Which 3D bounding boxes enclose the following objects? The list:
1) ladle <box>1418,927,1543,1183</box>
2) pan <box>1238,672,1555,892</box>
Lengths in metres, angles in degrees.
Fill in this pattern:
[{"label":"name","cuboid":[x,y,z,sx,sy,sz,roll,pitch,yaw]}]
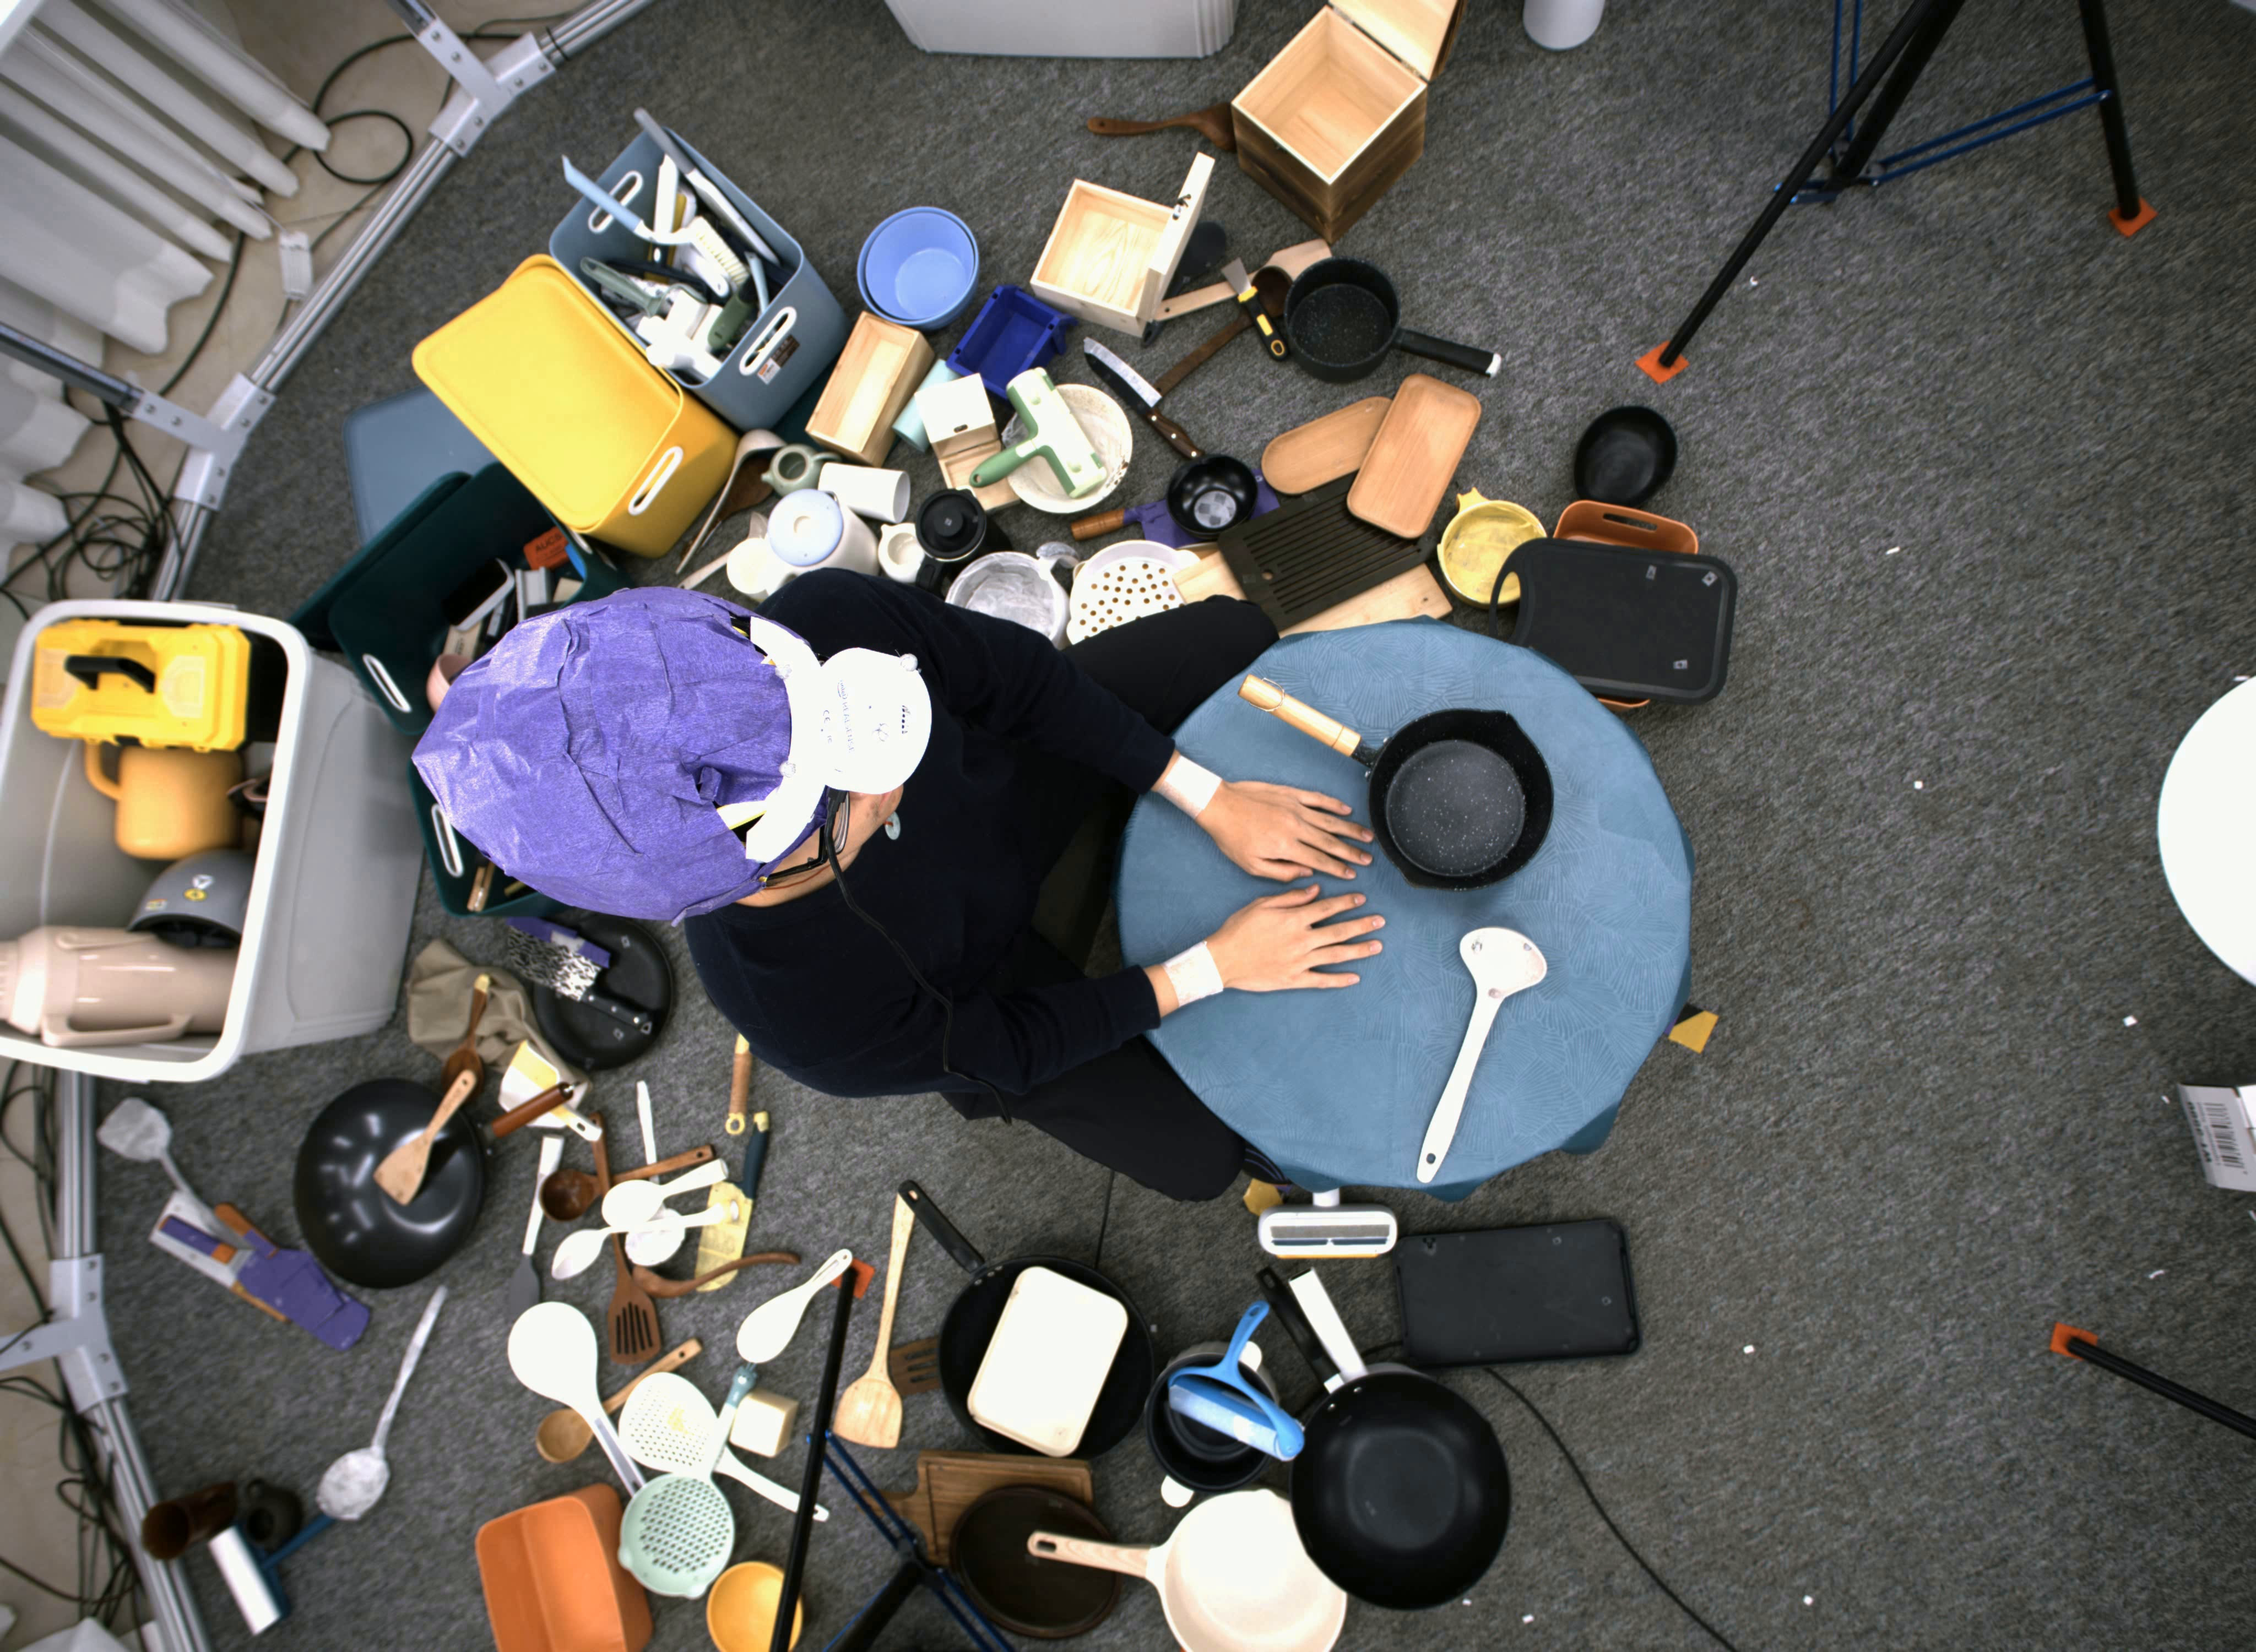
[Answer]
[{"label":"ladle","cuboid":[0.341,0.234,1.402,0.089,0.069,0.275,21,93,25]},{"label":"pan","cuboid":[0.267,-0.062,1.413,0.342,0.108,0.208,28,93,9]}]
